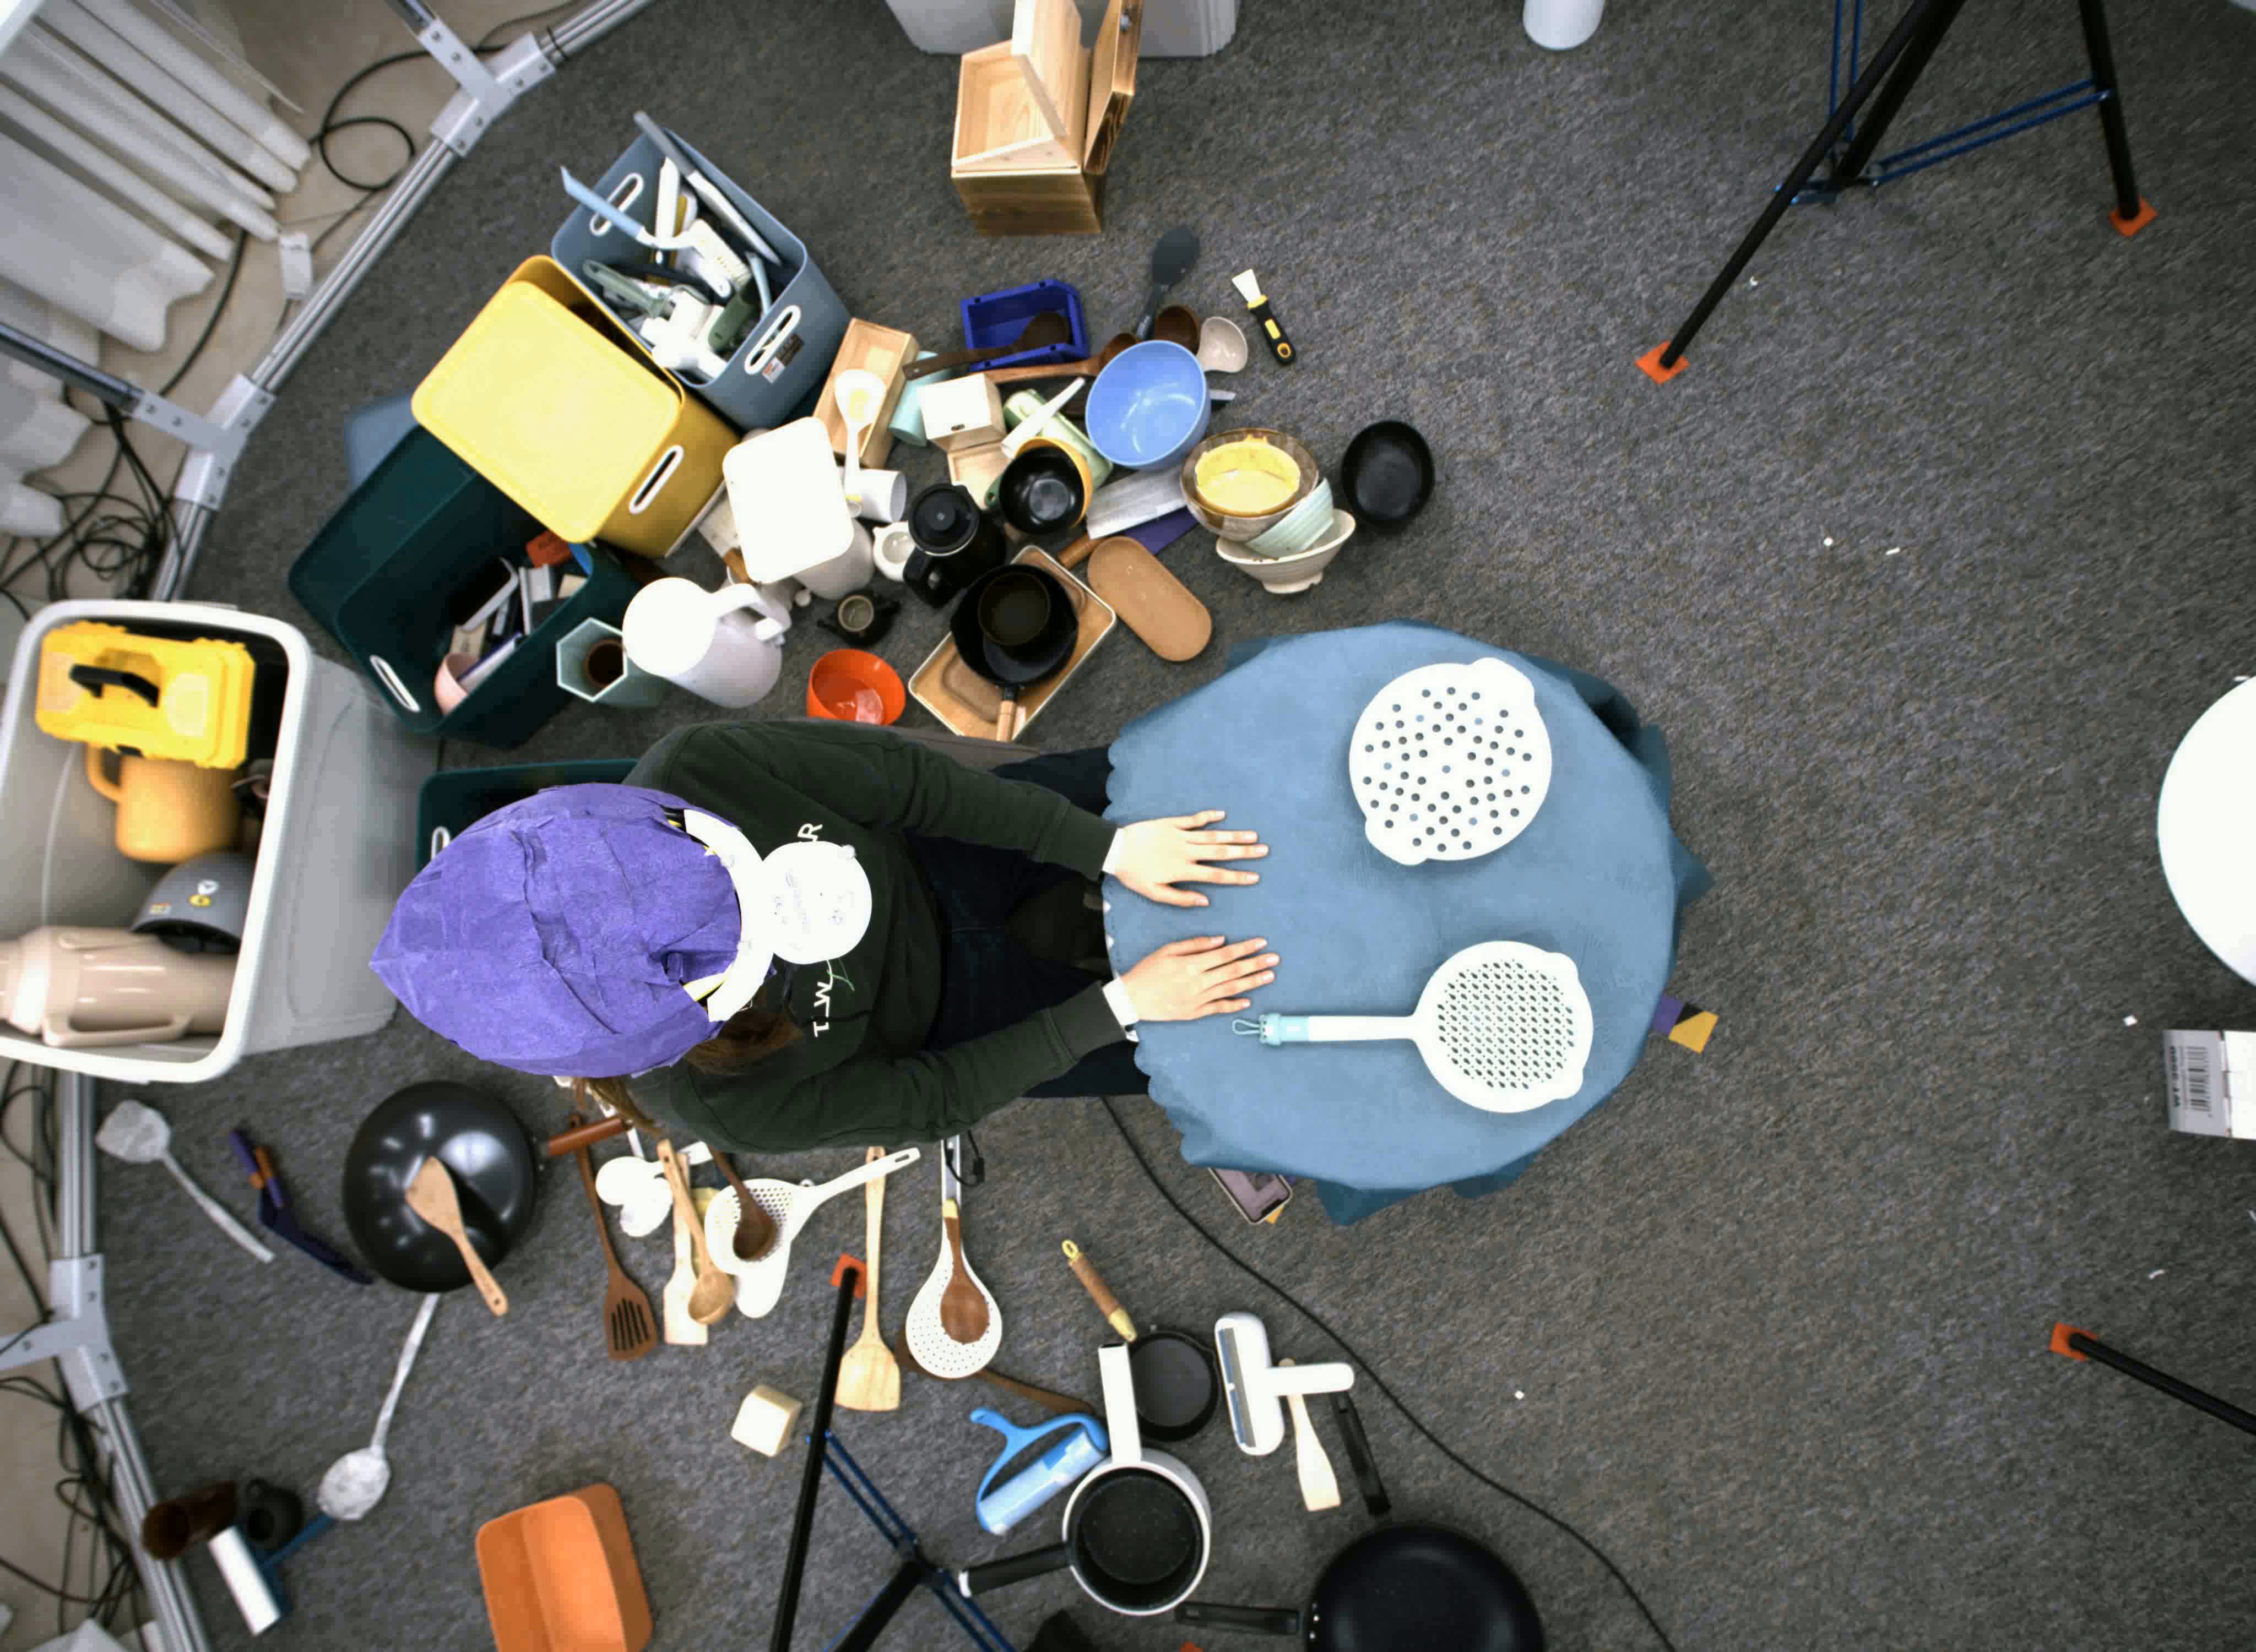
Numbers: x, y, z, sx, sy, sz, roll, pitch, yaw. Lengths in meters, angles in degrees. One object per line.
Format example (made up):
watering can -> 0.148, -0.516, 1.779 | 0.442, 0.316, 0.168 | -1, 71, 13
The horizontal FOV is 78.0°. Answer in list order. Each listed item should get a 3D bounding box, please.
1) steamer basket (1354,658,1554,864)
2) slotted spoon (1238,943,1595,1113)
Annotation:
steamer basket -> 0.337, -0.066, 1.430 | 0.201, 0.069, 0.231 | 33, 93, 12
slotted spoon -> 0.288, 0.206, 1.419 | 0.360, 0.075, 0.168 | -2, 85, 10
